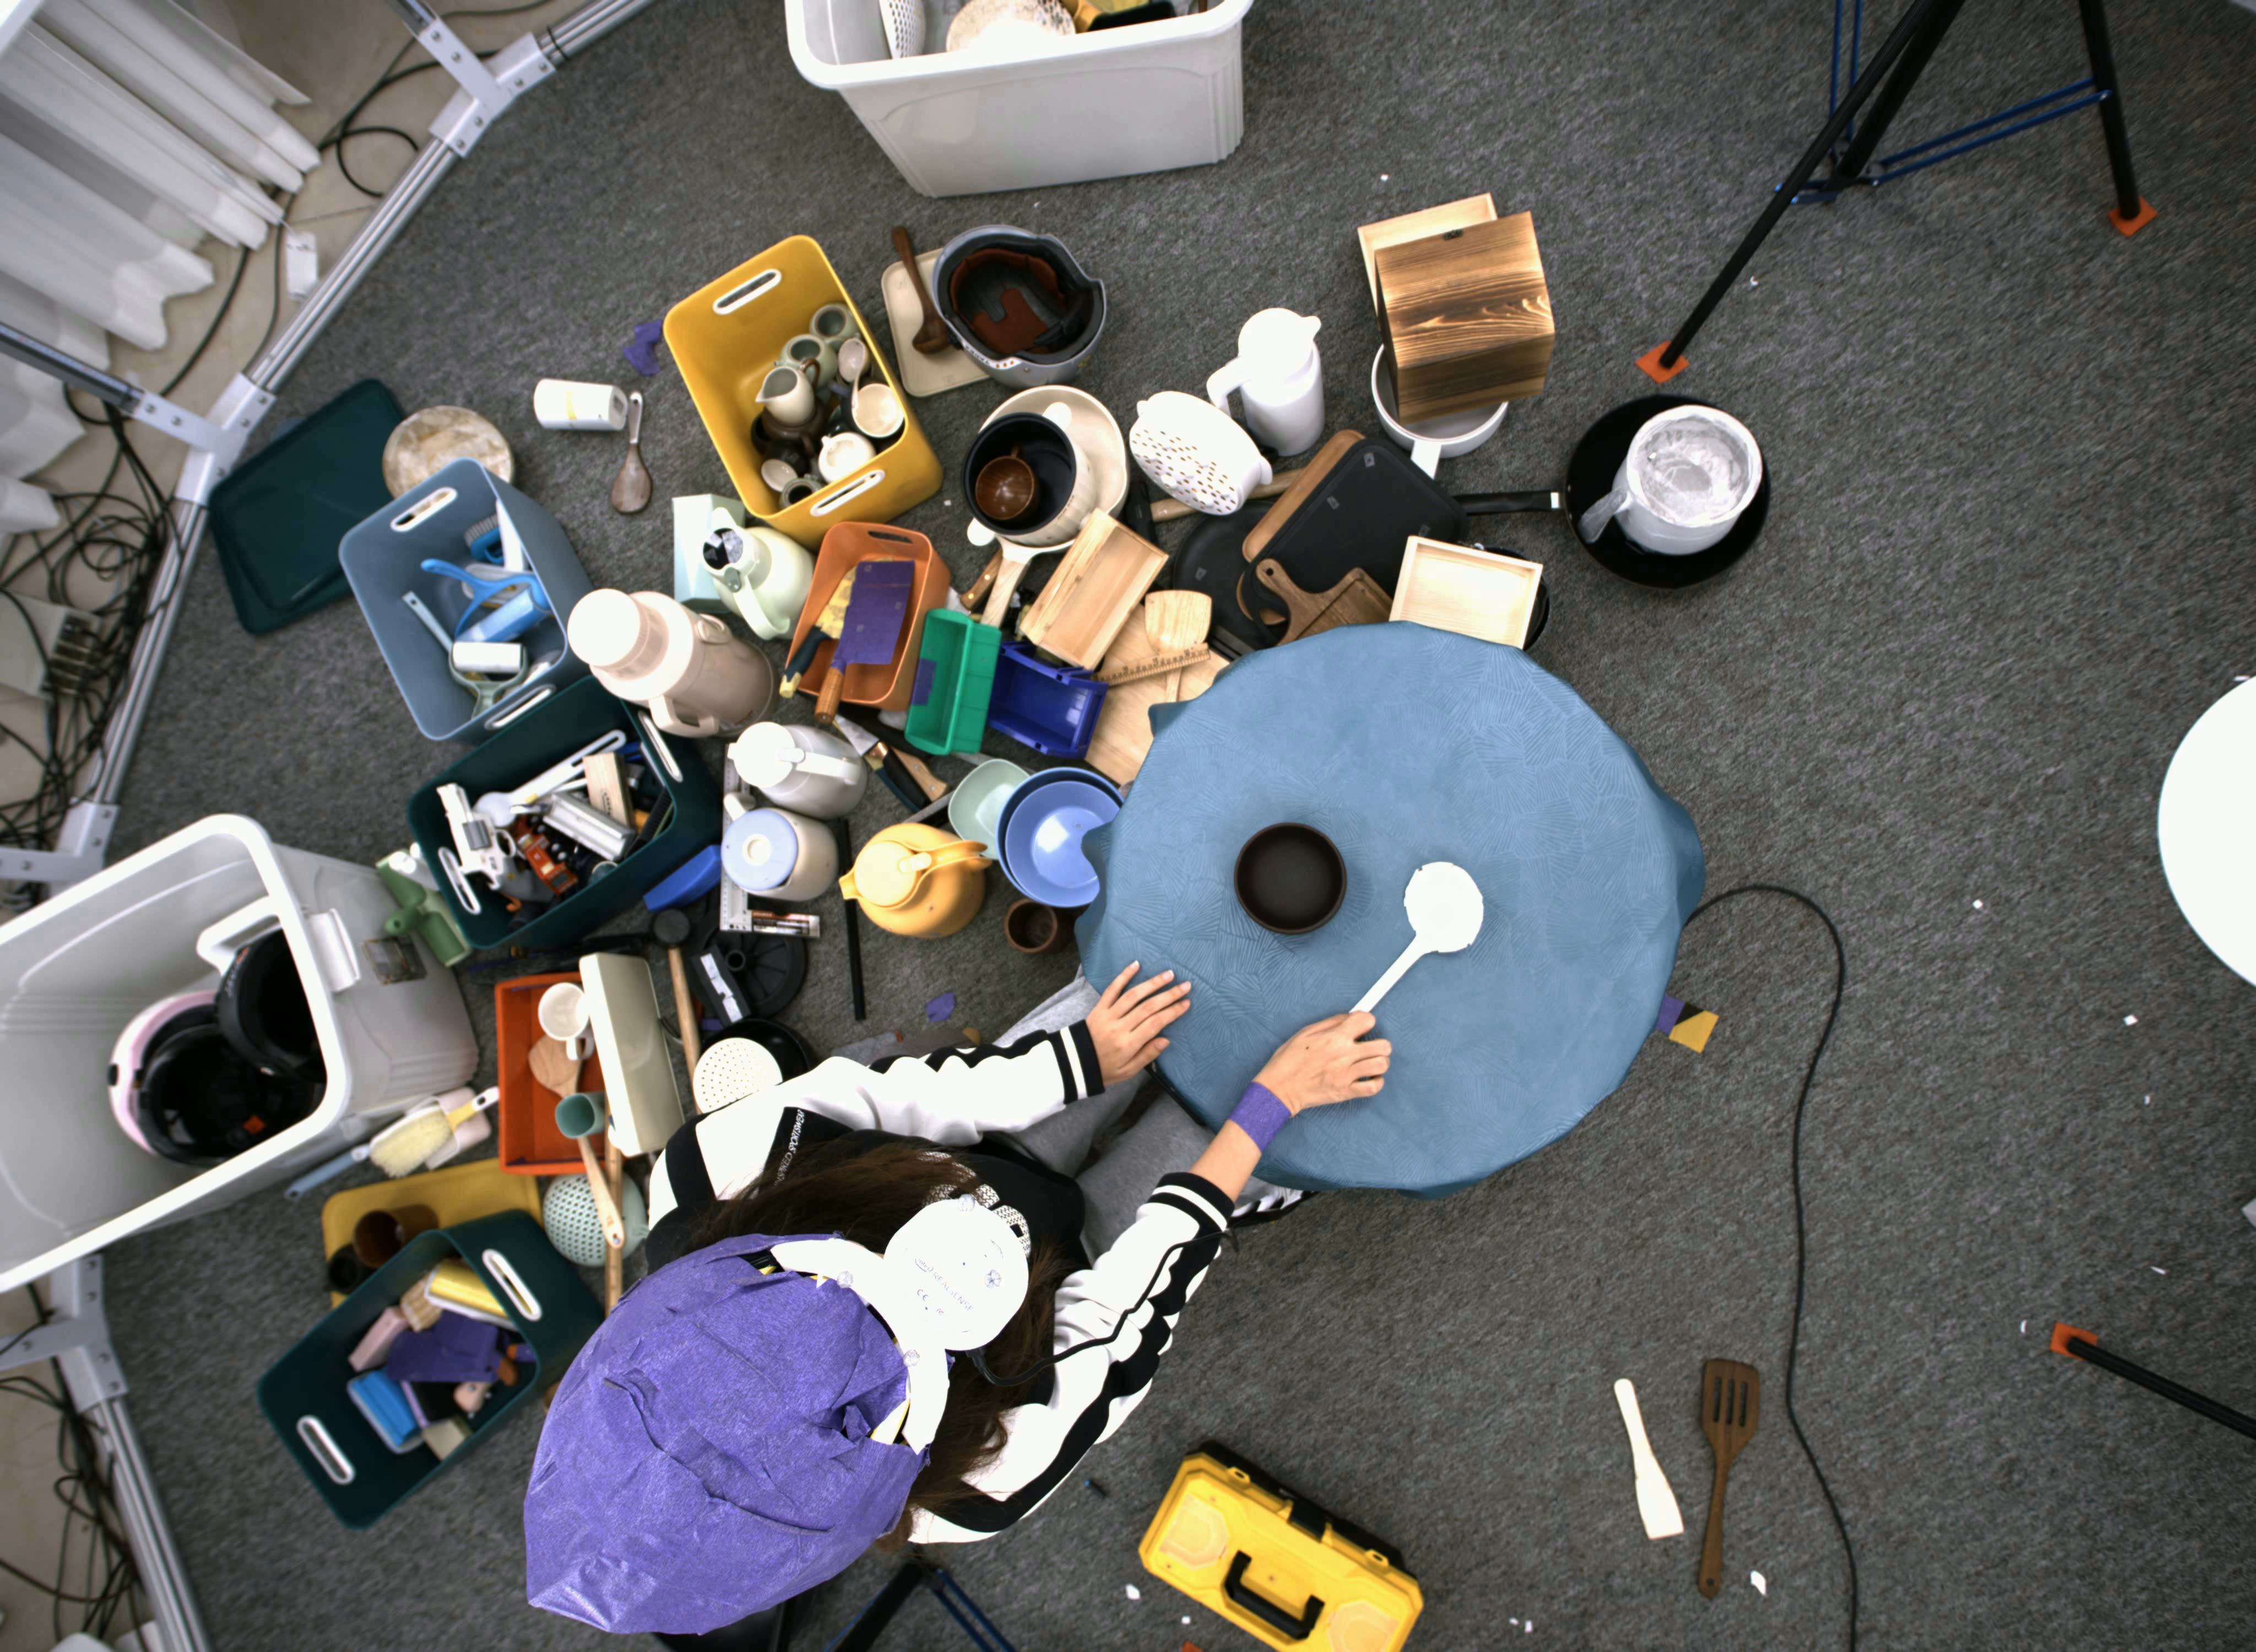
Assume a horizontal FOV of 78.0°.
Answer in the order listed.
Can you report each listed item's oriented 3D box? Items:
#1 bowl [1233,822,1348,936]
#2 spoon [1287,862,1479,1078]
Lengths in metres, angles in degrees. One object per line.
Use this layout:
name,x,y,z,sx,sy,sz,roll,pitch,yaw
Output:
bowl,0.170,0.056,1.443,0.118,0.070,0.117,-1,86,10
spoon,0.253,0.151,1.433,0.279,0.060,0.099,-46,54,7
